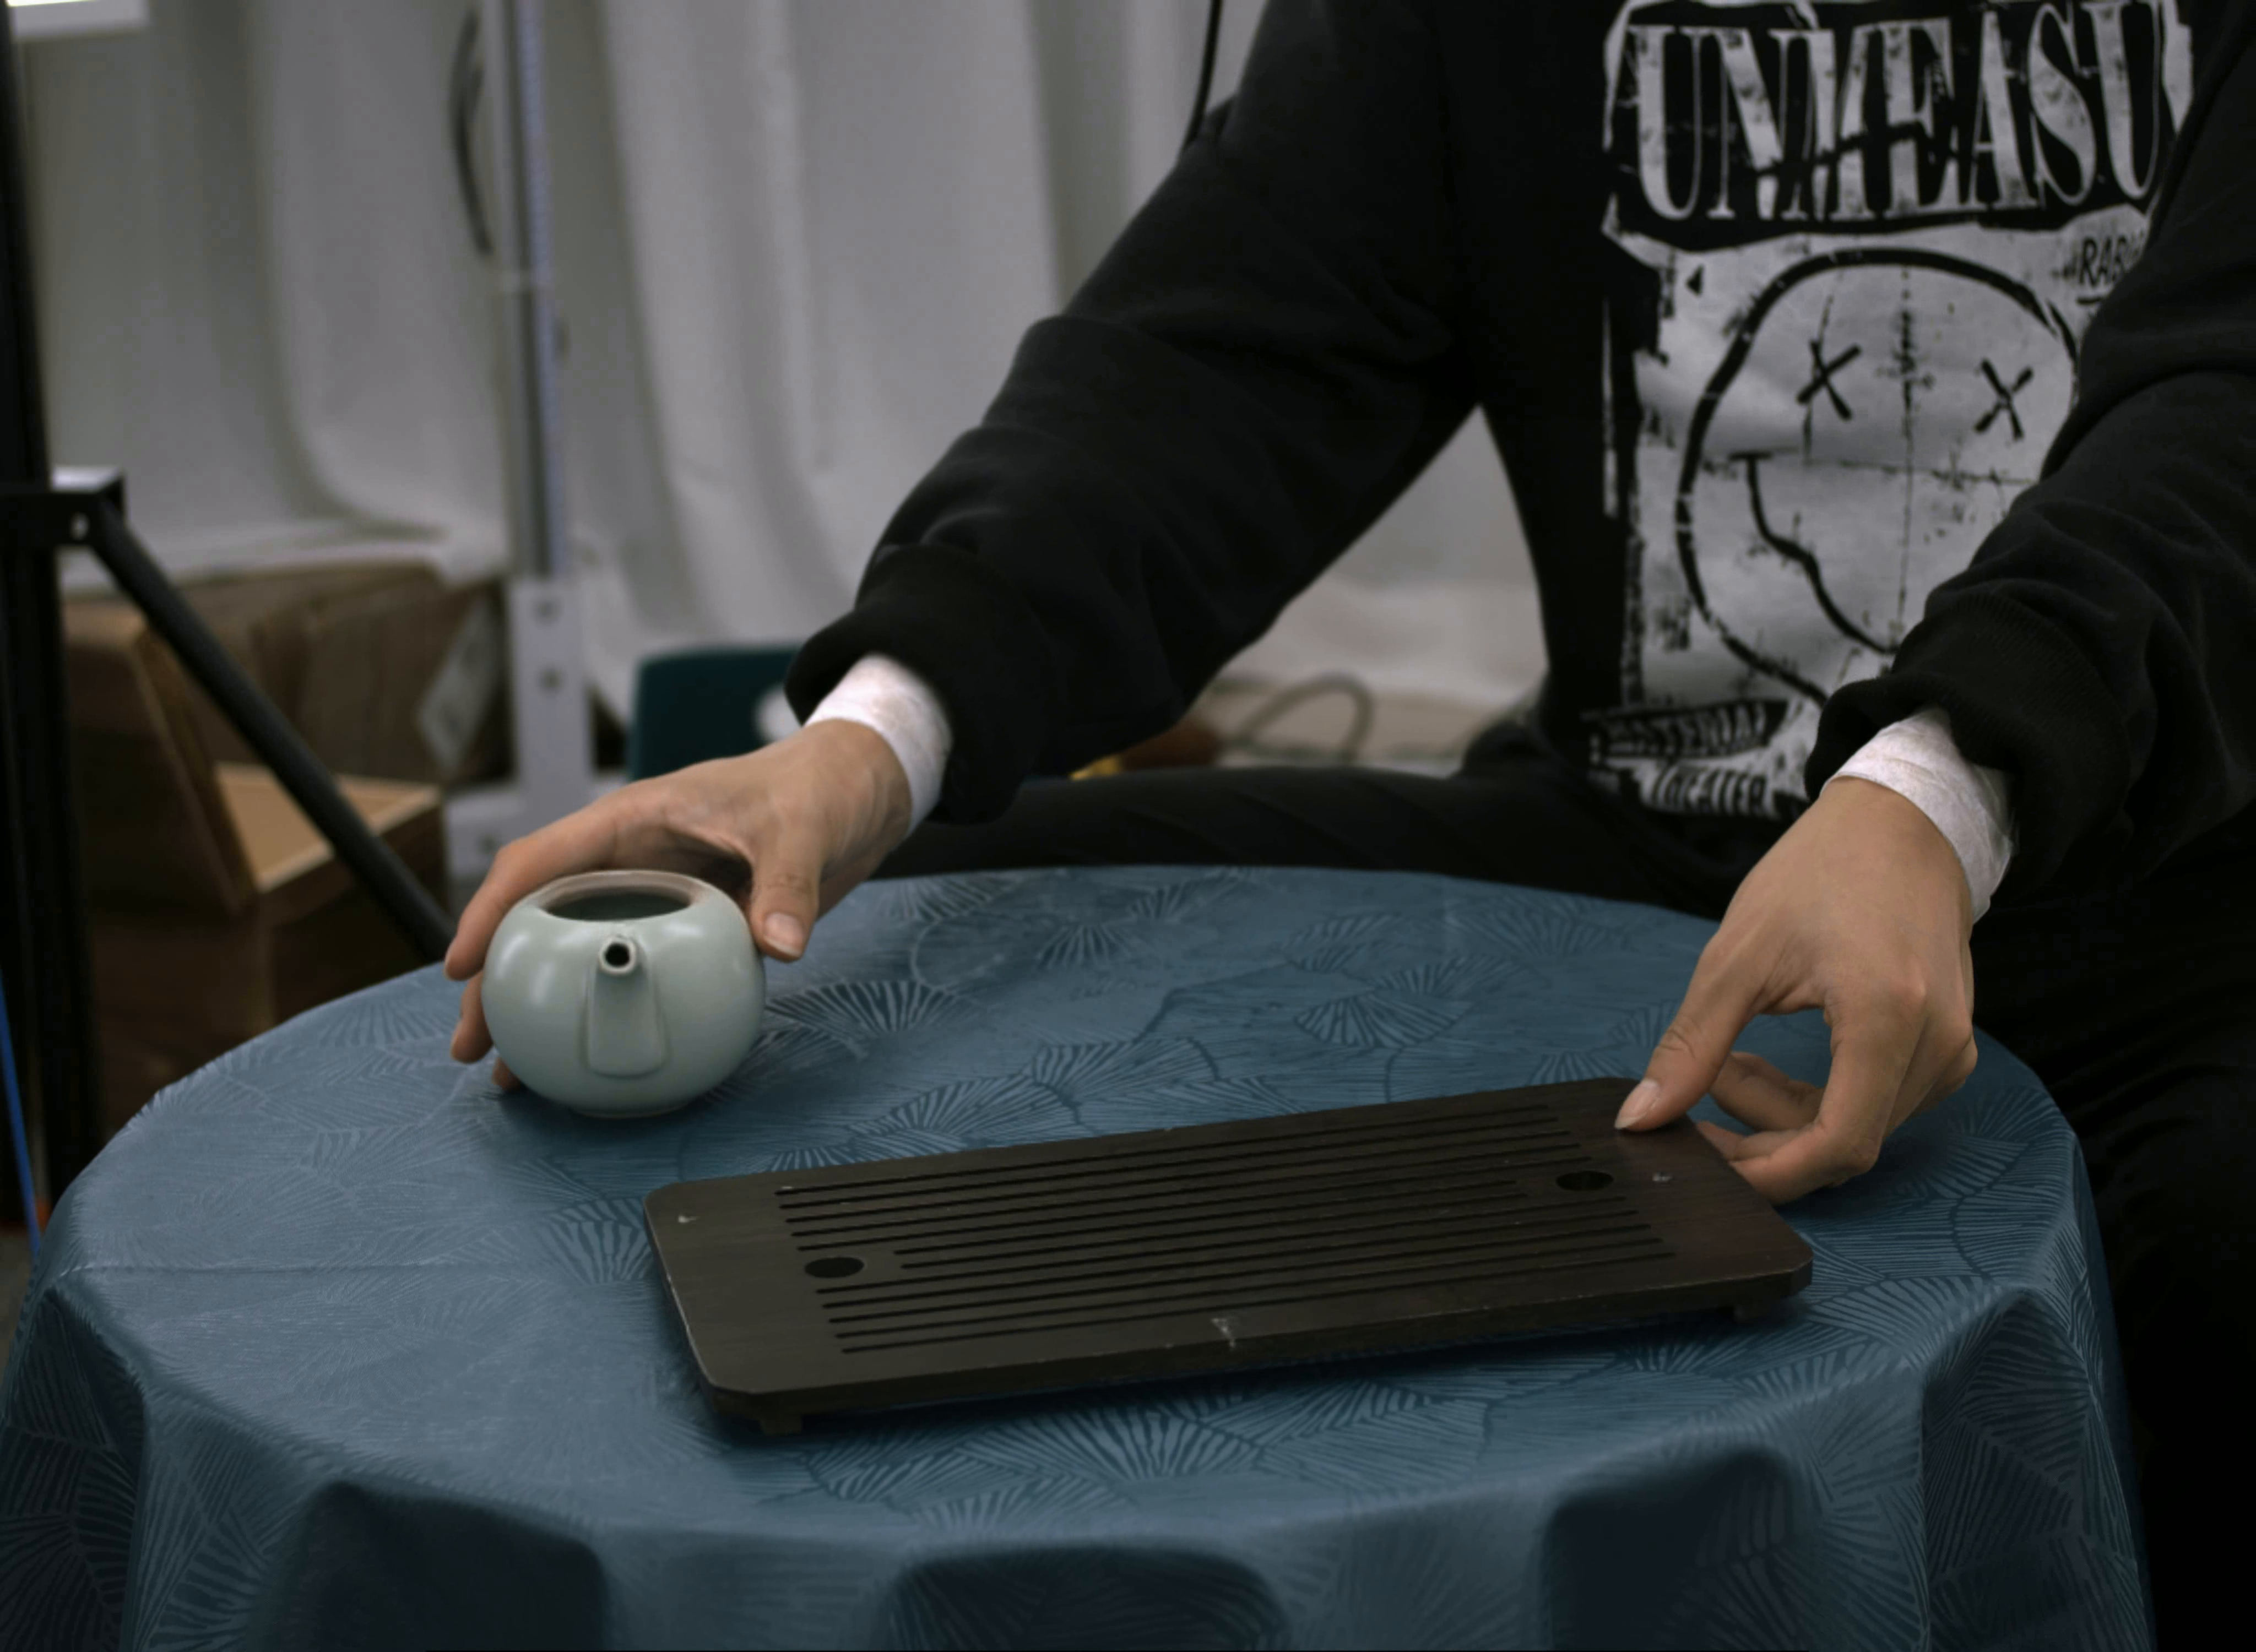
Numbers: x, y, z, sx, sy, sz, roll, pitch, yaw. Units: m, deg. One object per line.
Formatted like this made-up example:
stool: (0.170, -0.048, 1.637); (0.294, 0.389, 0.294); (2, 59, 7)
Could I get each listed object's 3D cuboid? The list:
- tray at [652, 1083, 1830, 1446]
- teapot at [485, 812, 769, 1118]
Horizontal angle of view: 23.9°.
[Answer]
tray: (0.028, 0.120, 1.471); (0.302, 0.018, 0.172); (-5, 16, -9)
teapot: (-0.155, 0.050, 1.654); (0.088, 0.074, 0.145); (-2, 18, -2)
